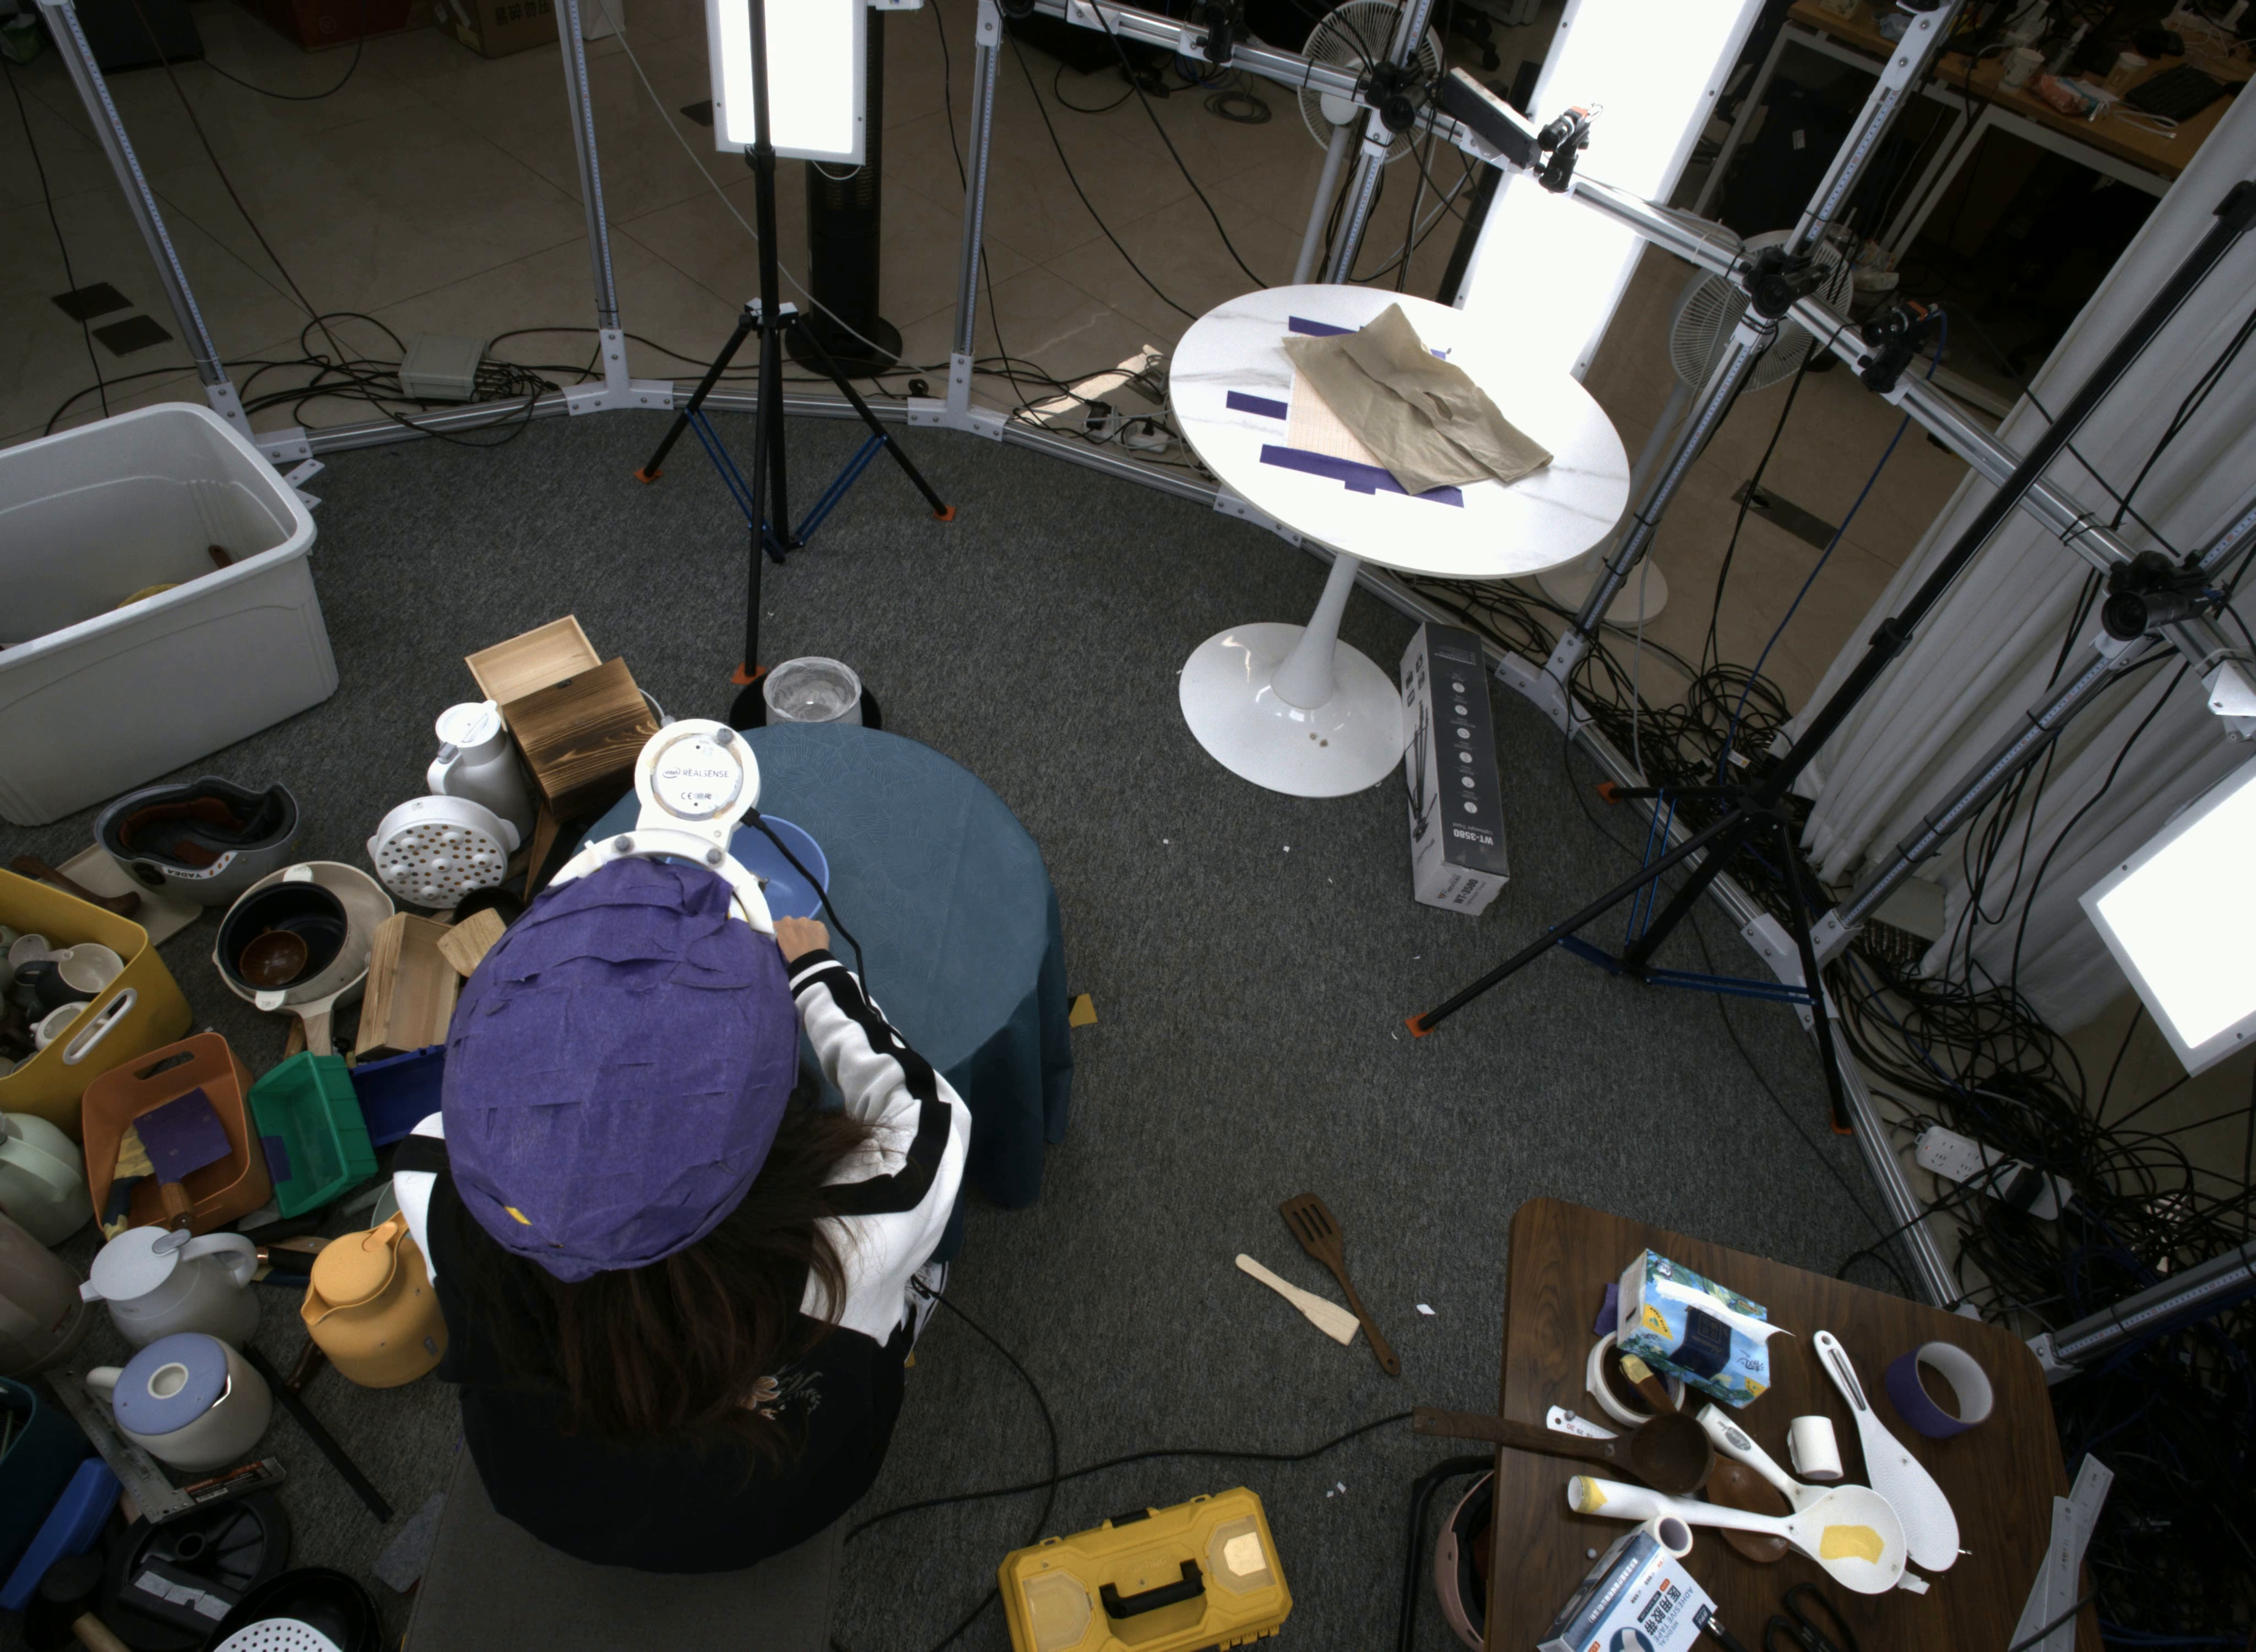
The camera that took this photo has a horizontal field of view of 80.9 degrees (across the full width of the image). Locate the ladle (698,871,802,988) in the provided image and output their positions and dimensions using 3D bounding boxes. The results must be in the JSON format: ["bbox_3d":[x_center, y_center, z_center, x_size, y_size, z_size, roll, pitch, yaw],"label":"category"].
[{"bbox_3d":[-0.432,0.137,1.514,0.072,0.075,0.245,-24,46,-27],"label":"ladle"}]

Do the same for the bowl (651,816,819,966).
[{"bbox_3d":[-0.477,0.093,1.578,0.196,0.097,0.193,9,52,-10],"label":"bowl"}]
